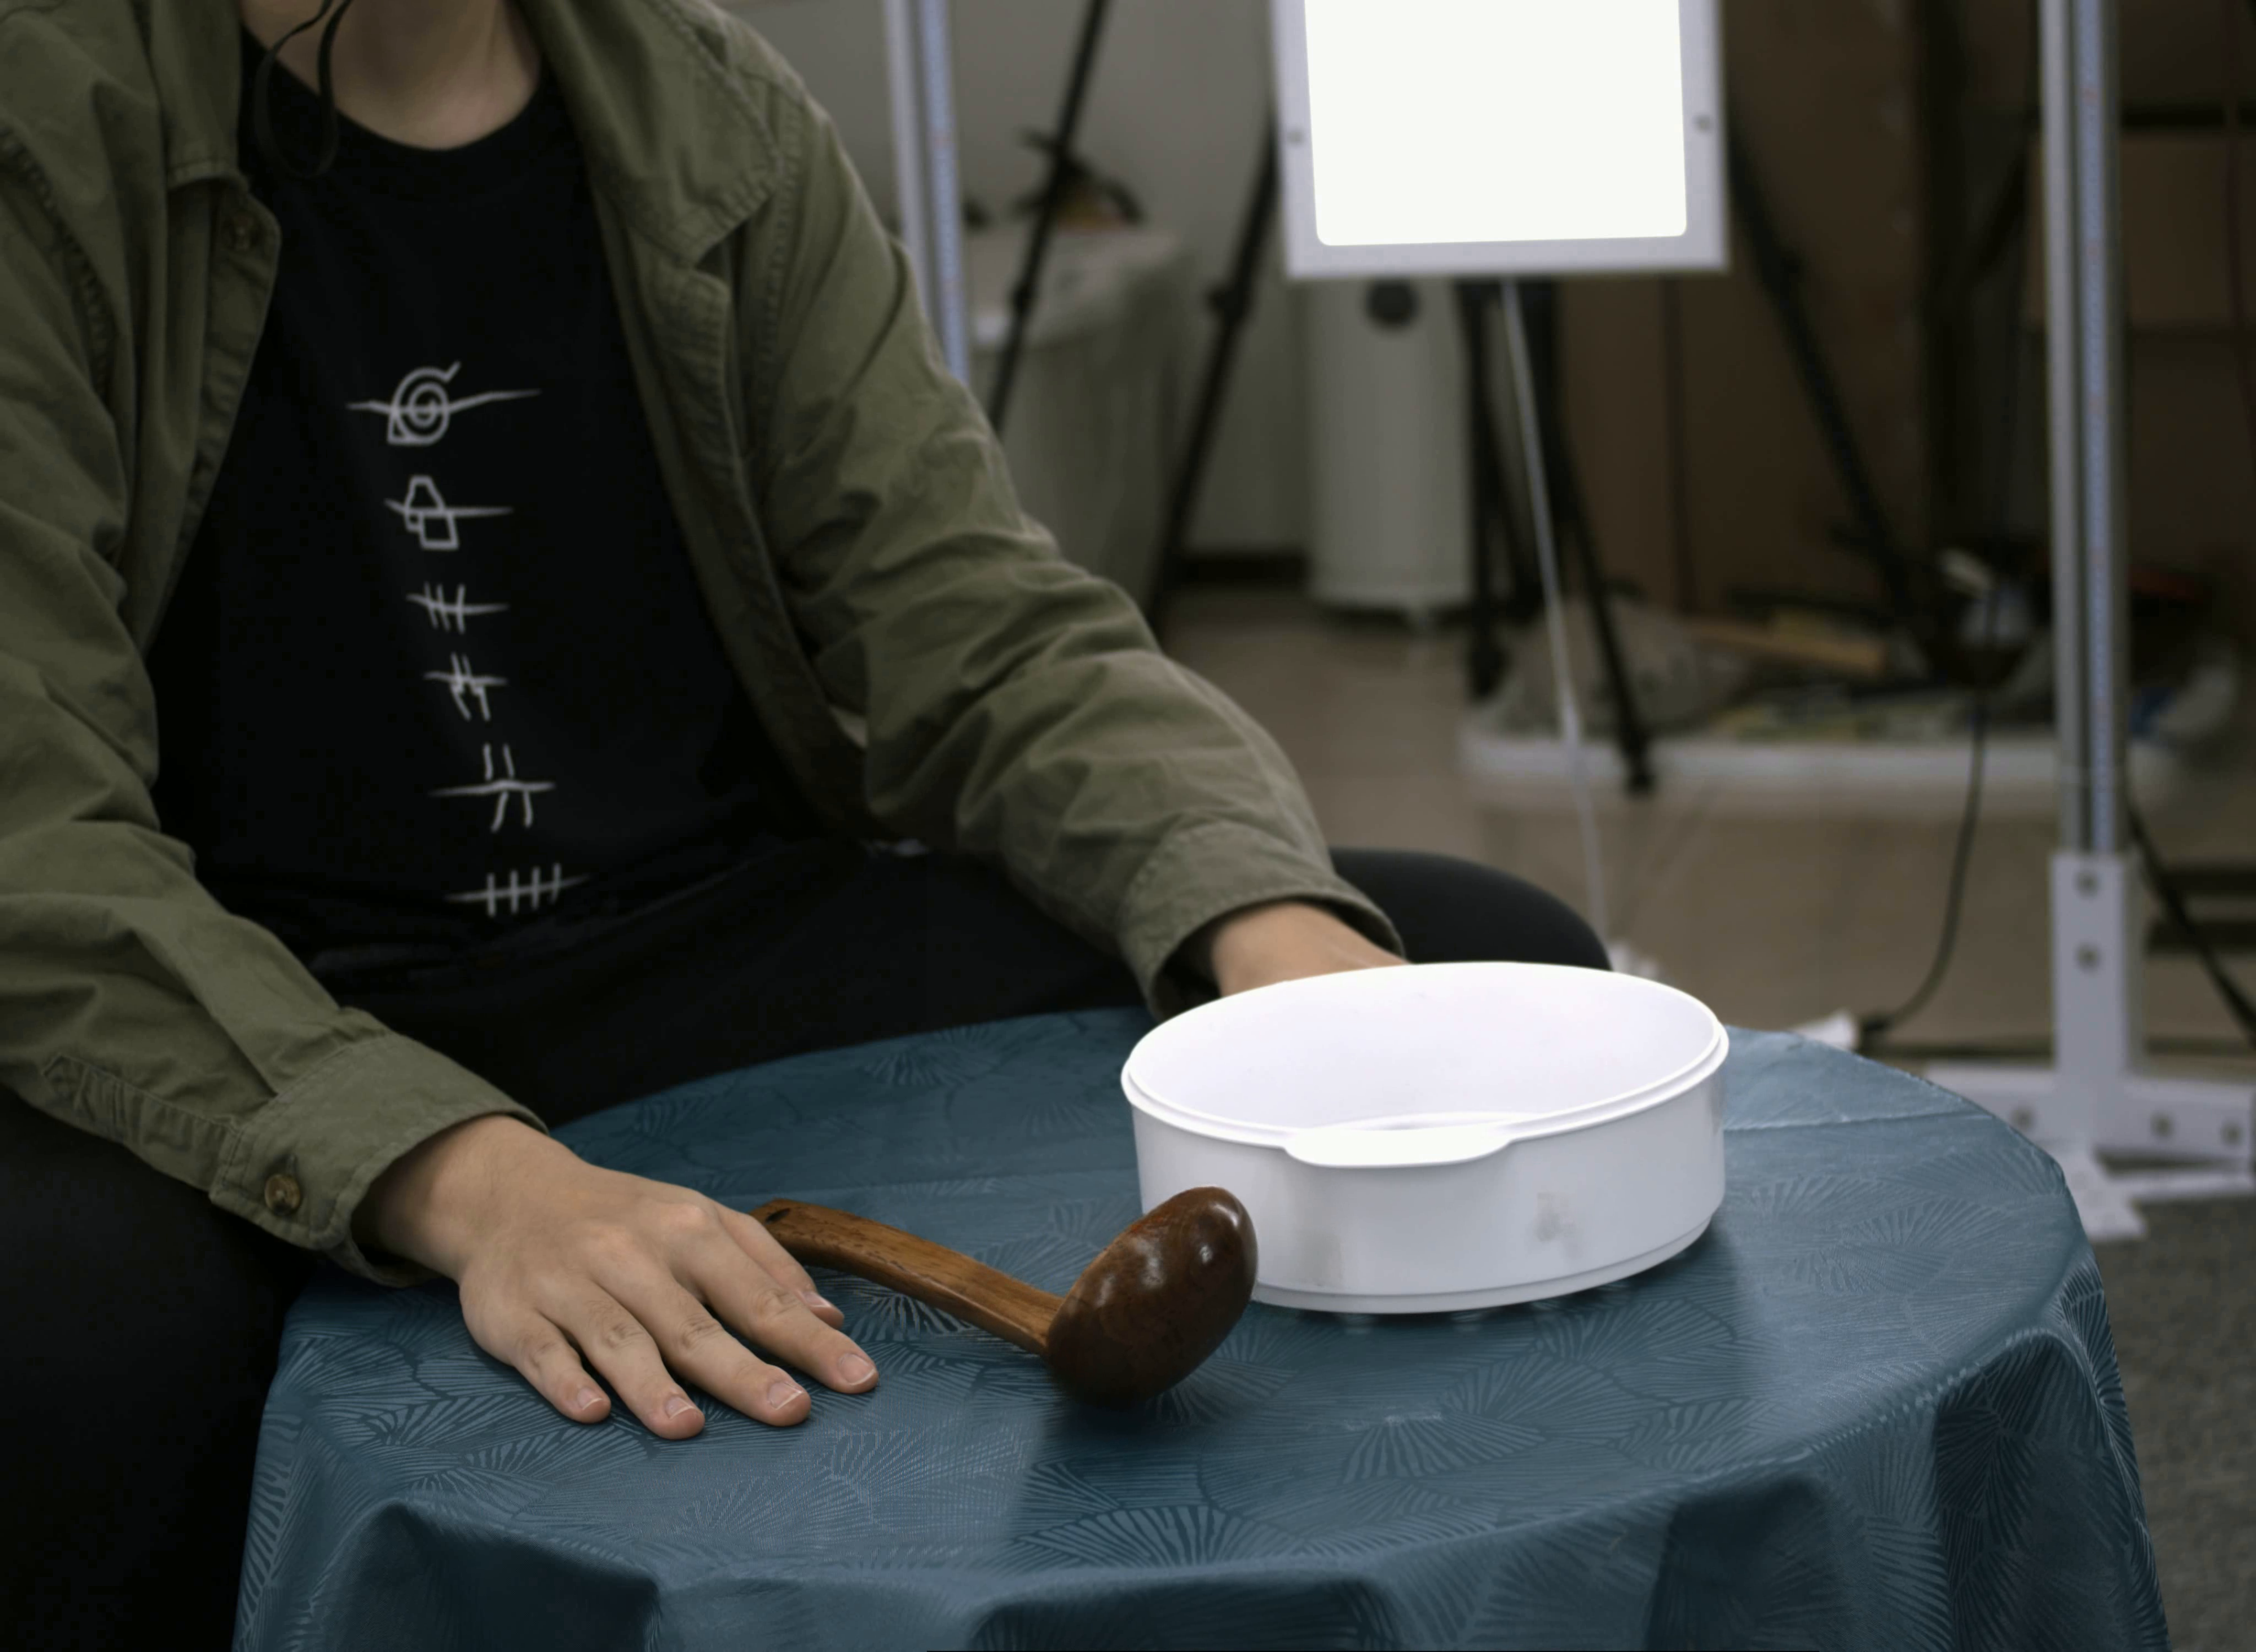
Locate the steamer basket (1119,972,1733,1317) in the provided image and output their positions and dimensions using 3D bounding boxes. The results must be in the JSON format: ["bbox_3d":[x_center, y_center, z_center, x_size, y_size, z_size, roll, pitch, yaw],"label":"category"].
[{"bbox_3d":[0.100,0.104,1.806,0.203,0.069,0.228,-2,13,10],"label":"steamer basket"}]

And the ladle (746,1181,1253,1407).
[{"bbox_3d":[-0.056,0.128,1.751,0.080,0.076,0.279,-30,24,-27],"label":"ladle"}]
